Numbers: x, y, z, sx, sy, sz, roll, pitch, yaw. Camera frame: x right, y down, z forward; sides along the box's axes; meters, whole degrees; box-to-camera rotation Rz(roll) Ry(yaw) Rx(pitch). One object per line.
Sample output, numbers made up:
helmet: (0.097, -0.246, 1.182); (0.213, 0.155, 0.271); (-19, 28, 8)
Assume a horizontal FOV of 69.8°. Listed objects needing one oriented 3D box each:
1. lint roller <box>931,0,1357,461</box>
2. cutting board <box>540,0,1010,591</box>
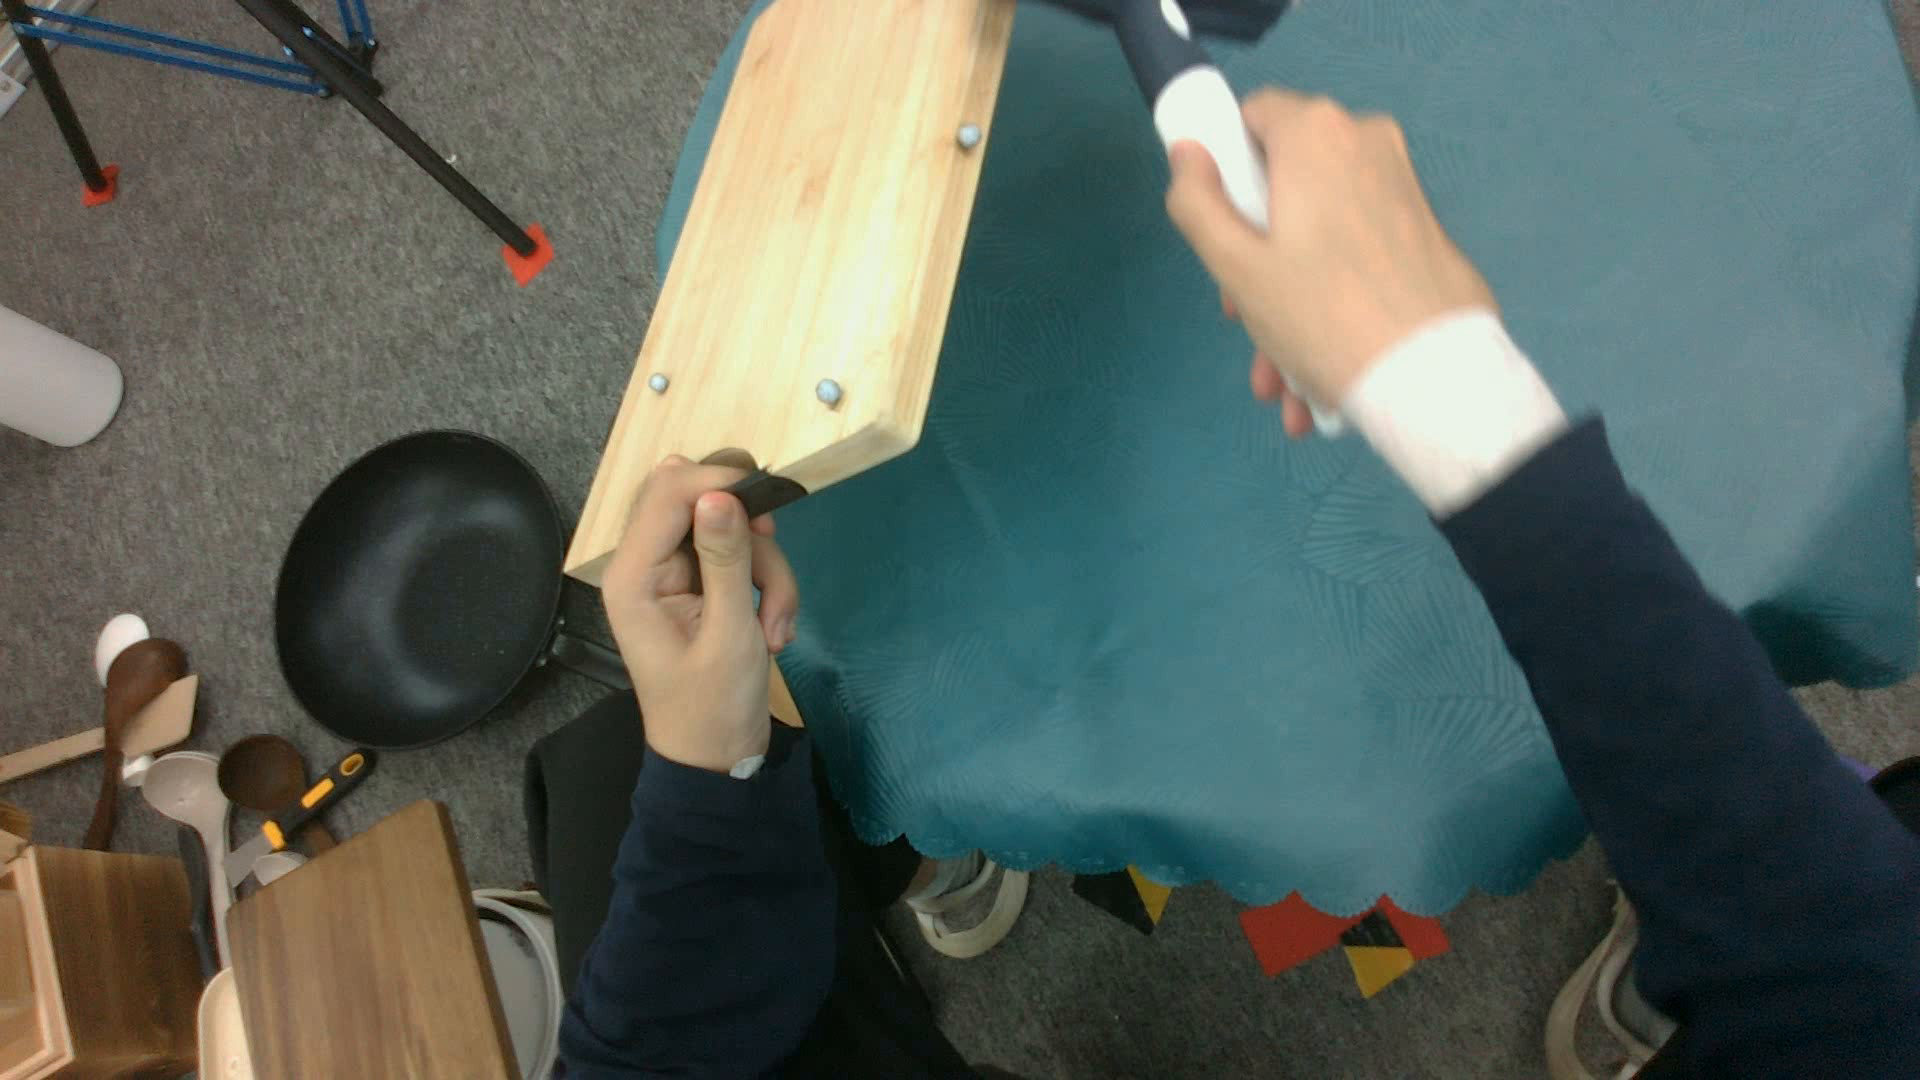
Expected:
lint roller: (0.084, -0.141, 0.493); (0.050, 0.177, 0.247); (-45, 61, 42)
cutting board: (-0.070, -0.157, 0.603); (0.249, 0.023, 0.350); (-20, 50, 46)
